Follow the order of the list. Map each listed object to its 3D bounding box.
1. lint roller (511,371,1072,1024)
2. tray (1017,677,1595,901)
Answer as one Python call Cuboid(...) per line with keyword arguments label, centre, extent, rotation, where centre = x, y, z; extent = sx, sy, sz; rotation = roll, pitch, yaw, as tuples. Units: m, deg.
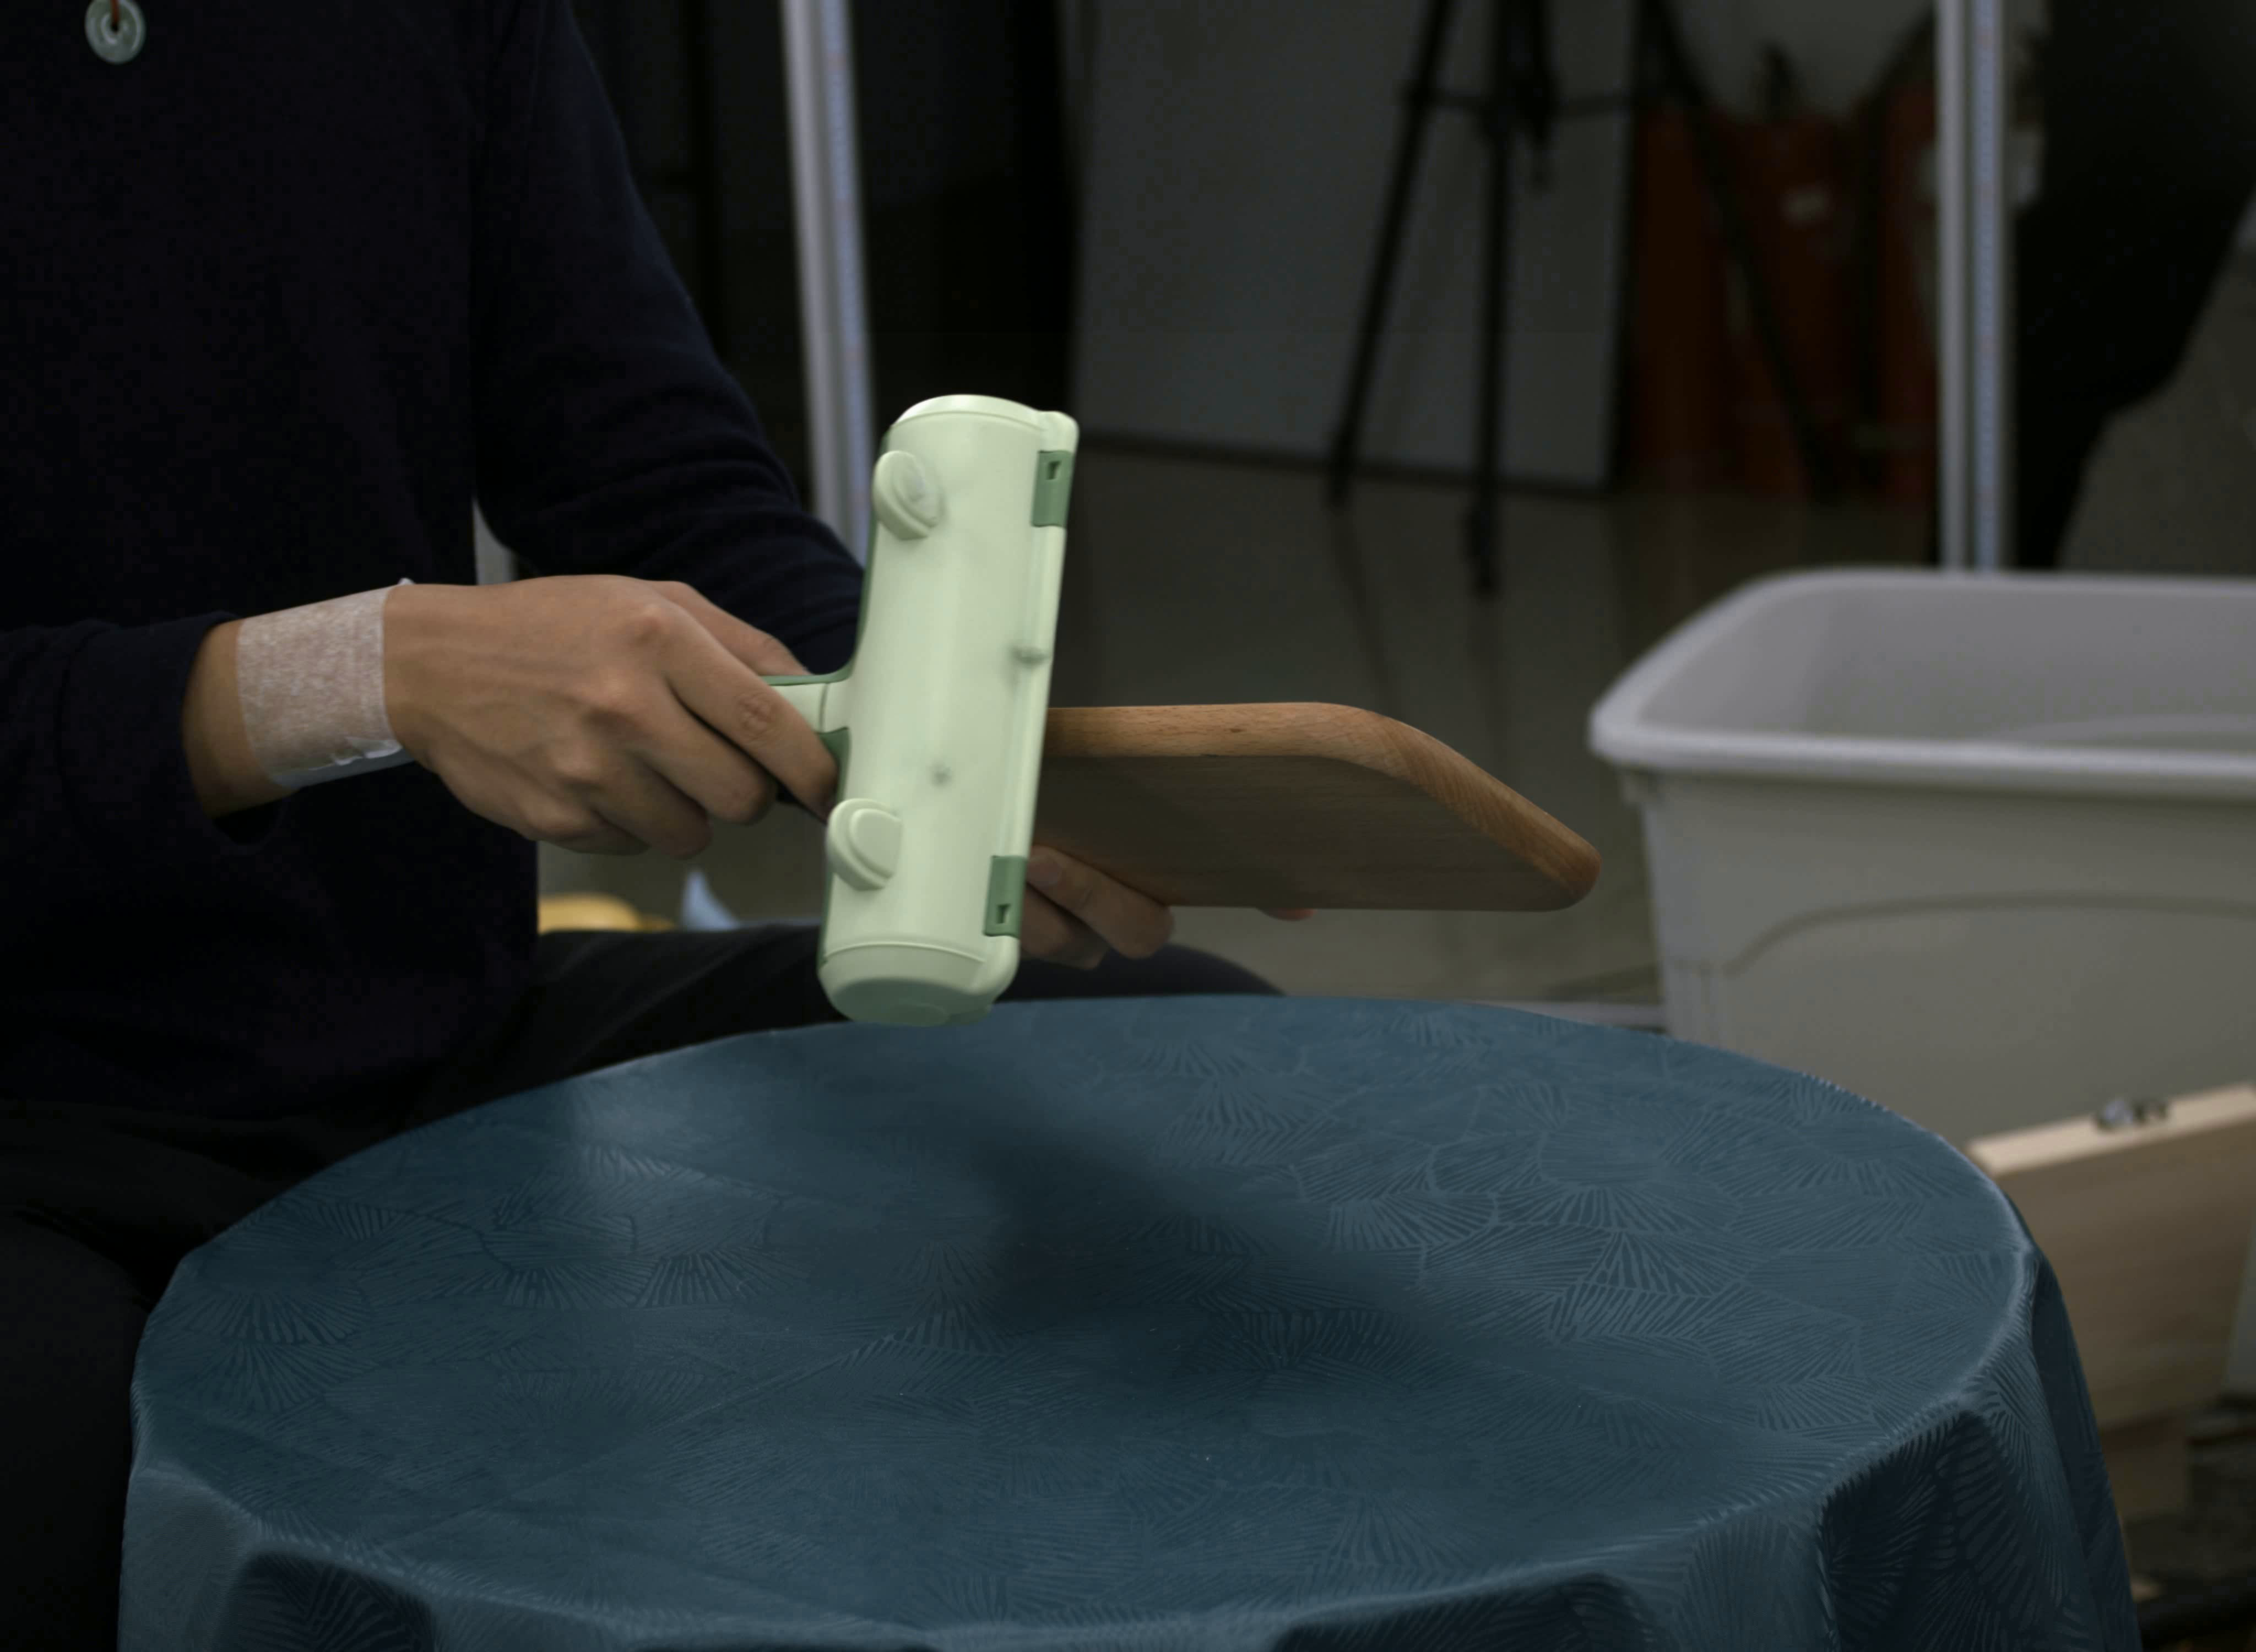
Cuboid(label="lint roller", centre=(-0.111, -0.041, 1.631), extent=(0.182, 0.201, 0.081), rotation=(-2, -25, 16))
Cuboid(label="tray", centre=(0.022, -0.008, 1.655), extent=(0.253, 0.023, 0.128), rotation=(-2, -30, 48))
